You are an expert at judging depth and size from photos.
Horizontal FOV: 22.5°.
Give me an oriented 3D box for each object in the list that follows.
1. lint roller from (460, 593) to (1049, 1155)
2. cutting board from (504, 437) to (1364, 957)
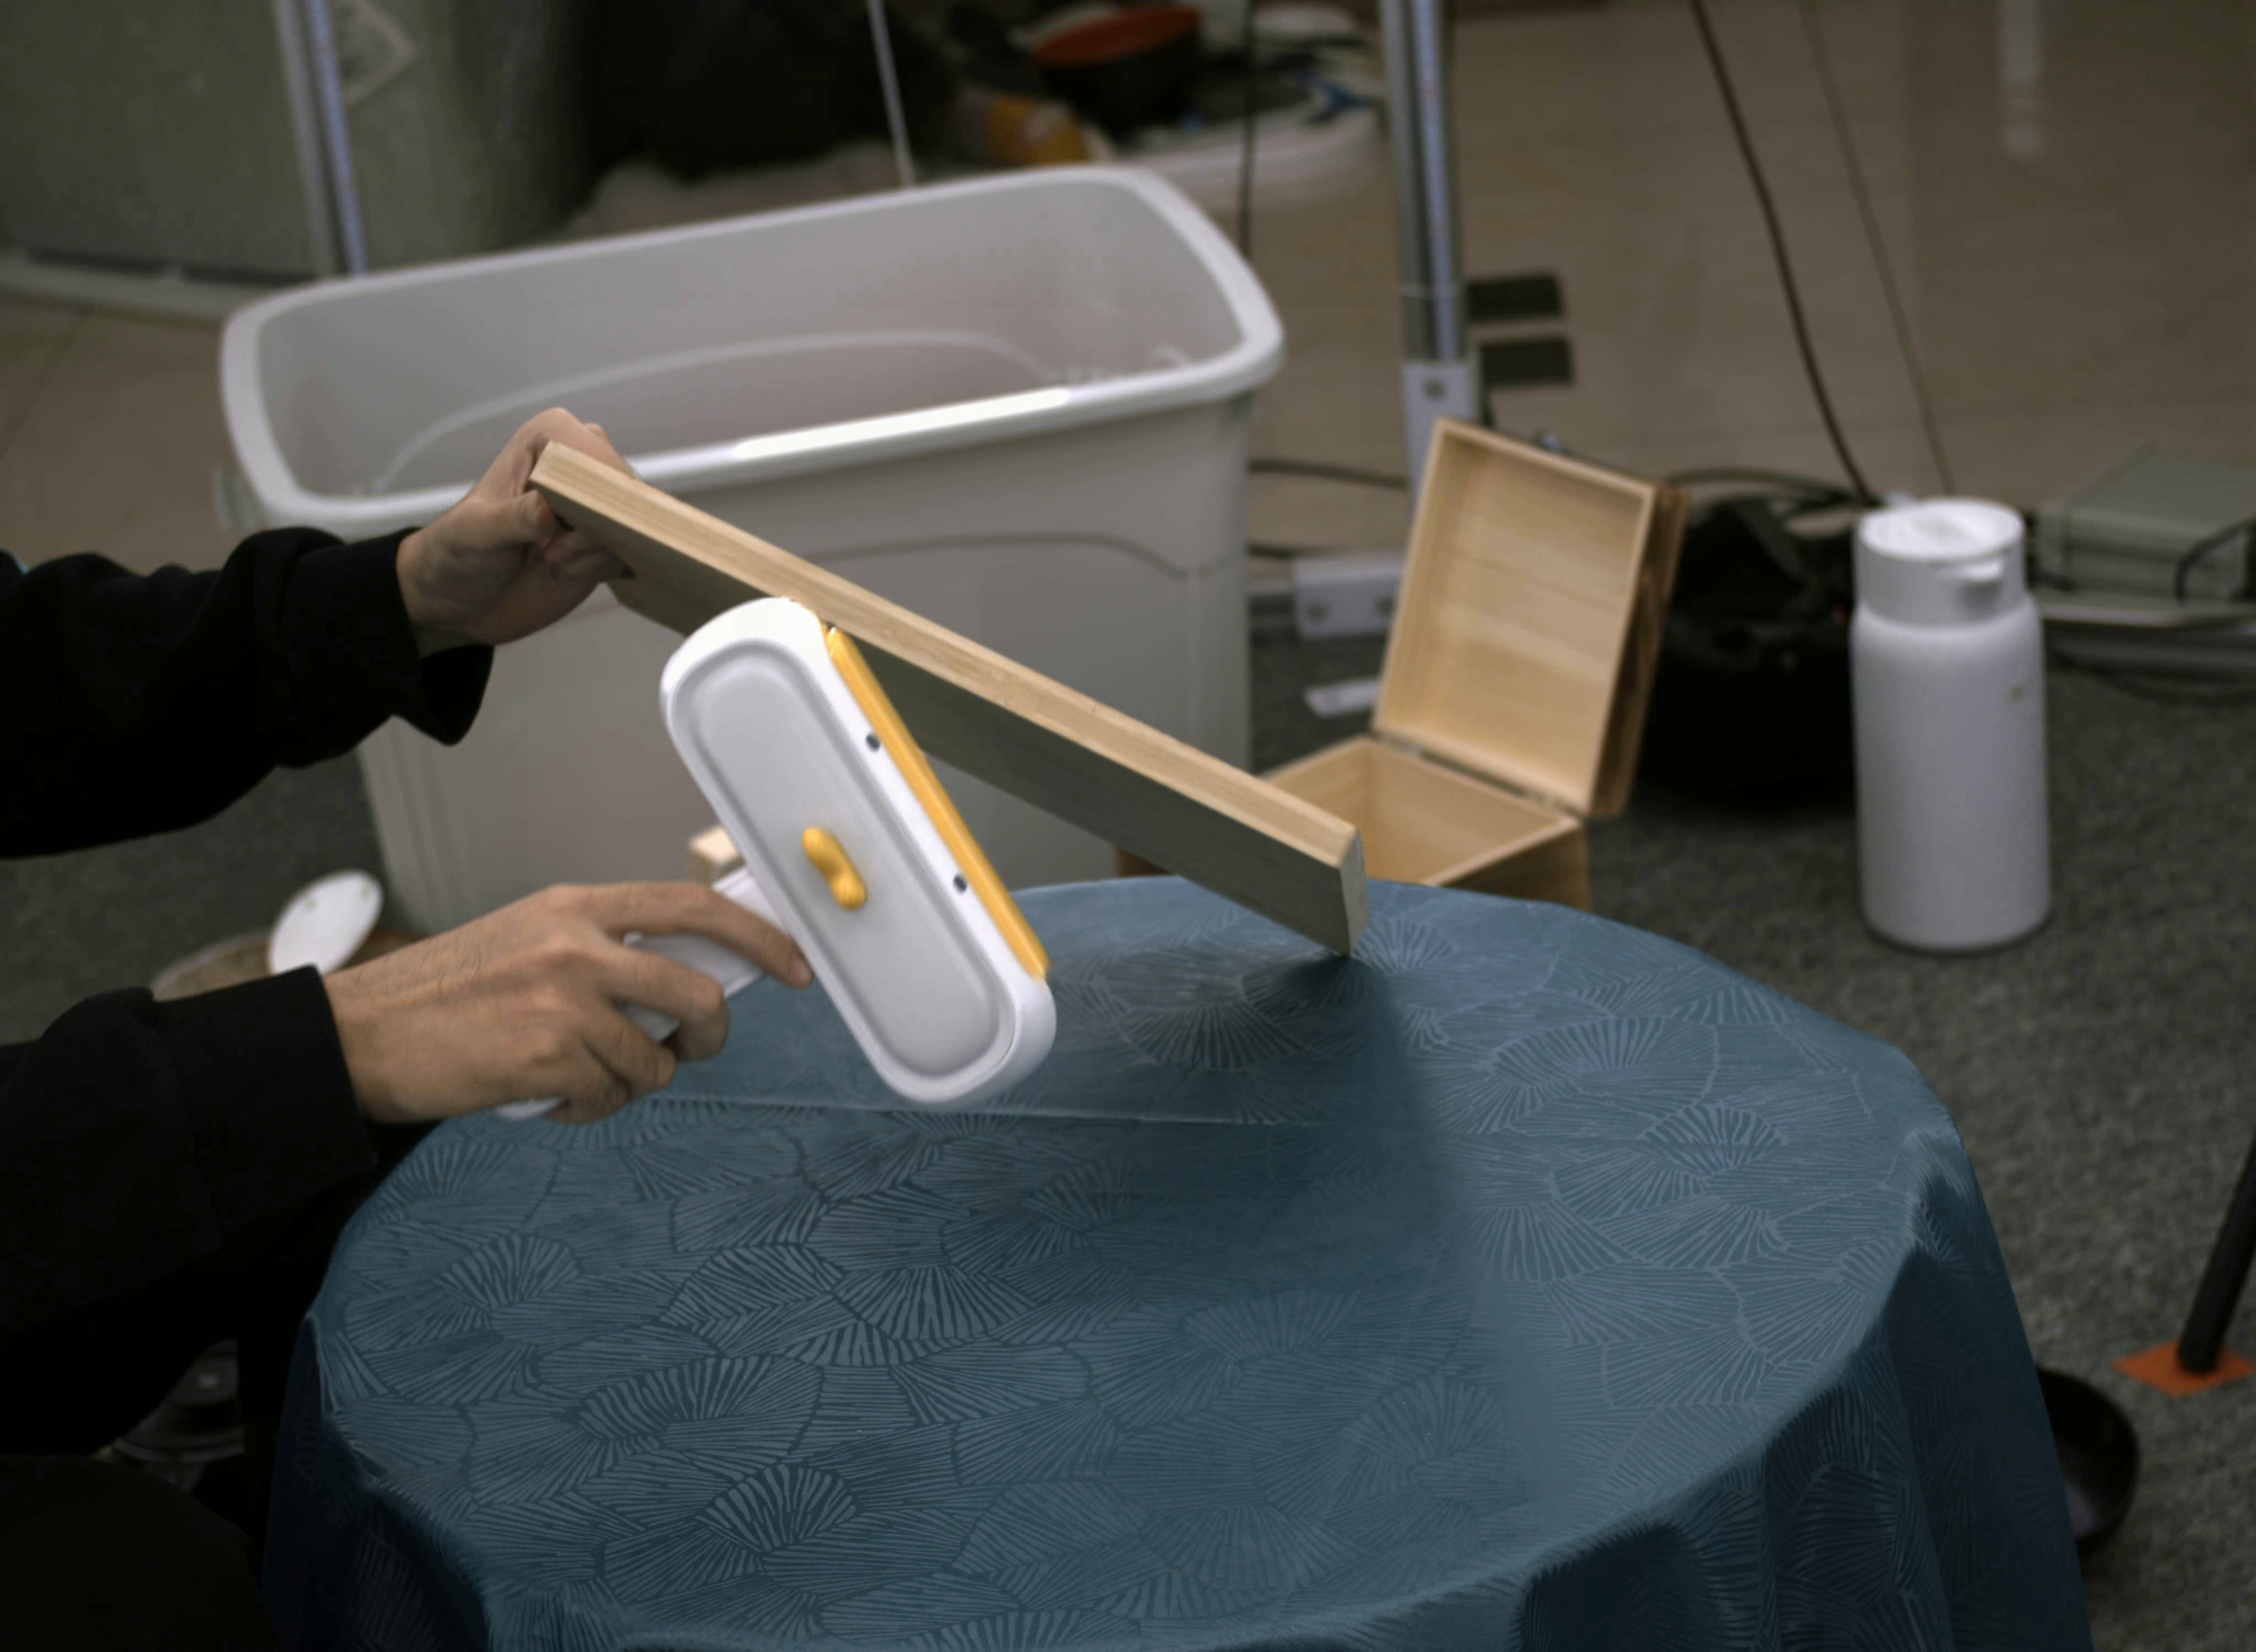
[{"bbox_3d":[-0.147,0.044,1.958,0.192,0.194,0.073,-35,8,5],"label":"lint roller"},{"bbox_3d":[-0.069,-0.046,2.208,0.347,0.023,0.252,26,-6,6],"label":"cutting board"}]
